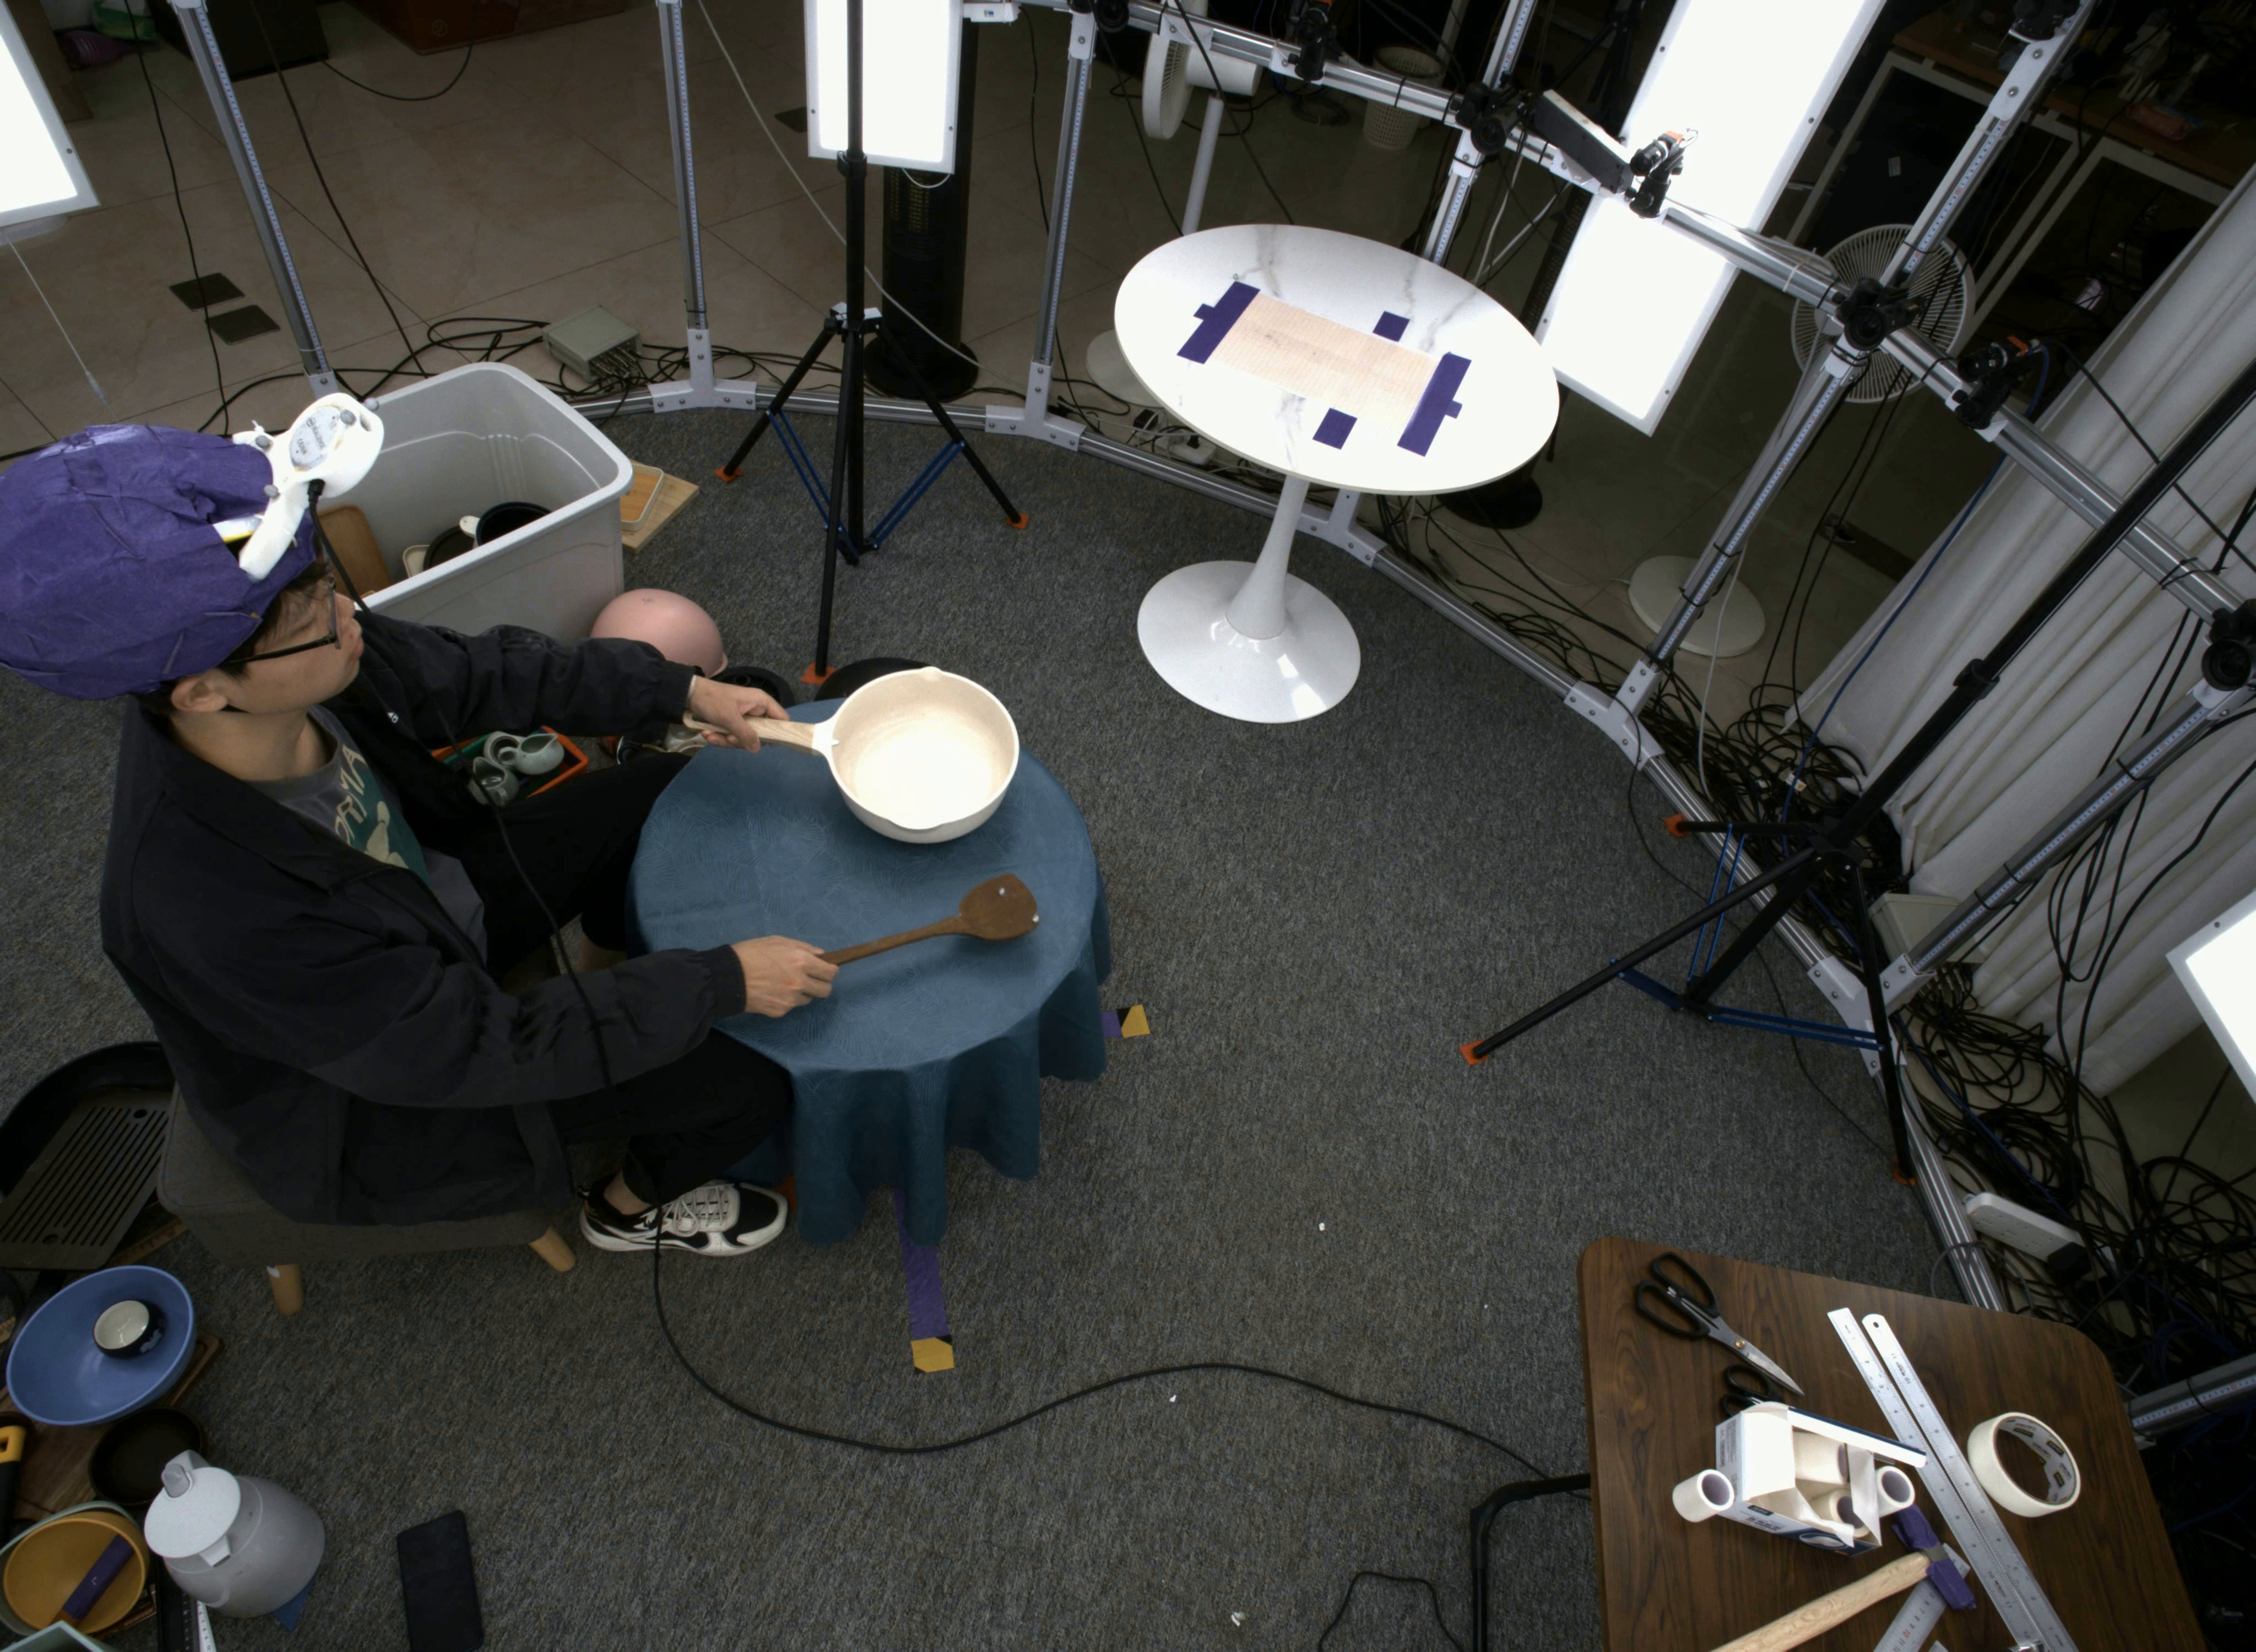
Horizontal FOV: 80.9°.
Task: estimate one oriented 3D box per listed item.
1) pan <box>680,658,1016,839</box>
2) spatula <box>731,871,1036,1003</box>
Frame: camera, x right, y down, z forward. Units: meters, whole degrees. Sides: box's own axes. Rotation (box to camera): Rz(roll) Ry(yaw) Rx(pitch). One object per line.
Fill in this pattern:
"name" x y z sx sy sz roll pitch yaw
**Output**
"pan" -0.367 -0.104 1.725 0.434 0.103 0.260 4 61 -9
"spatula" -0.294 0.141 1.586 0.388 0.016 0.093 -18 56 -24
